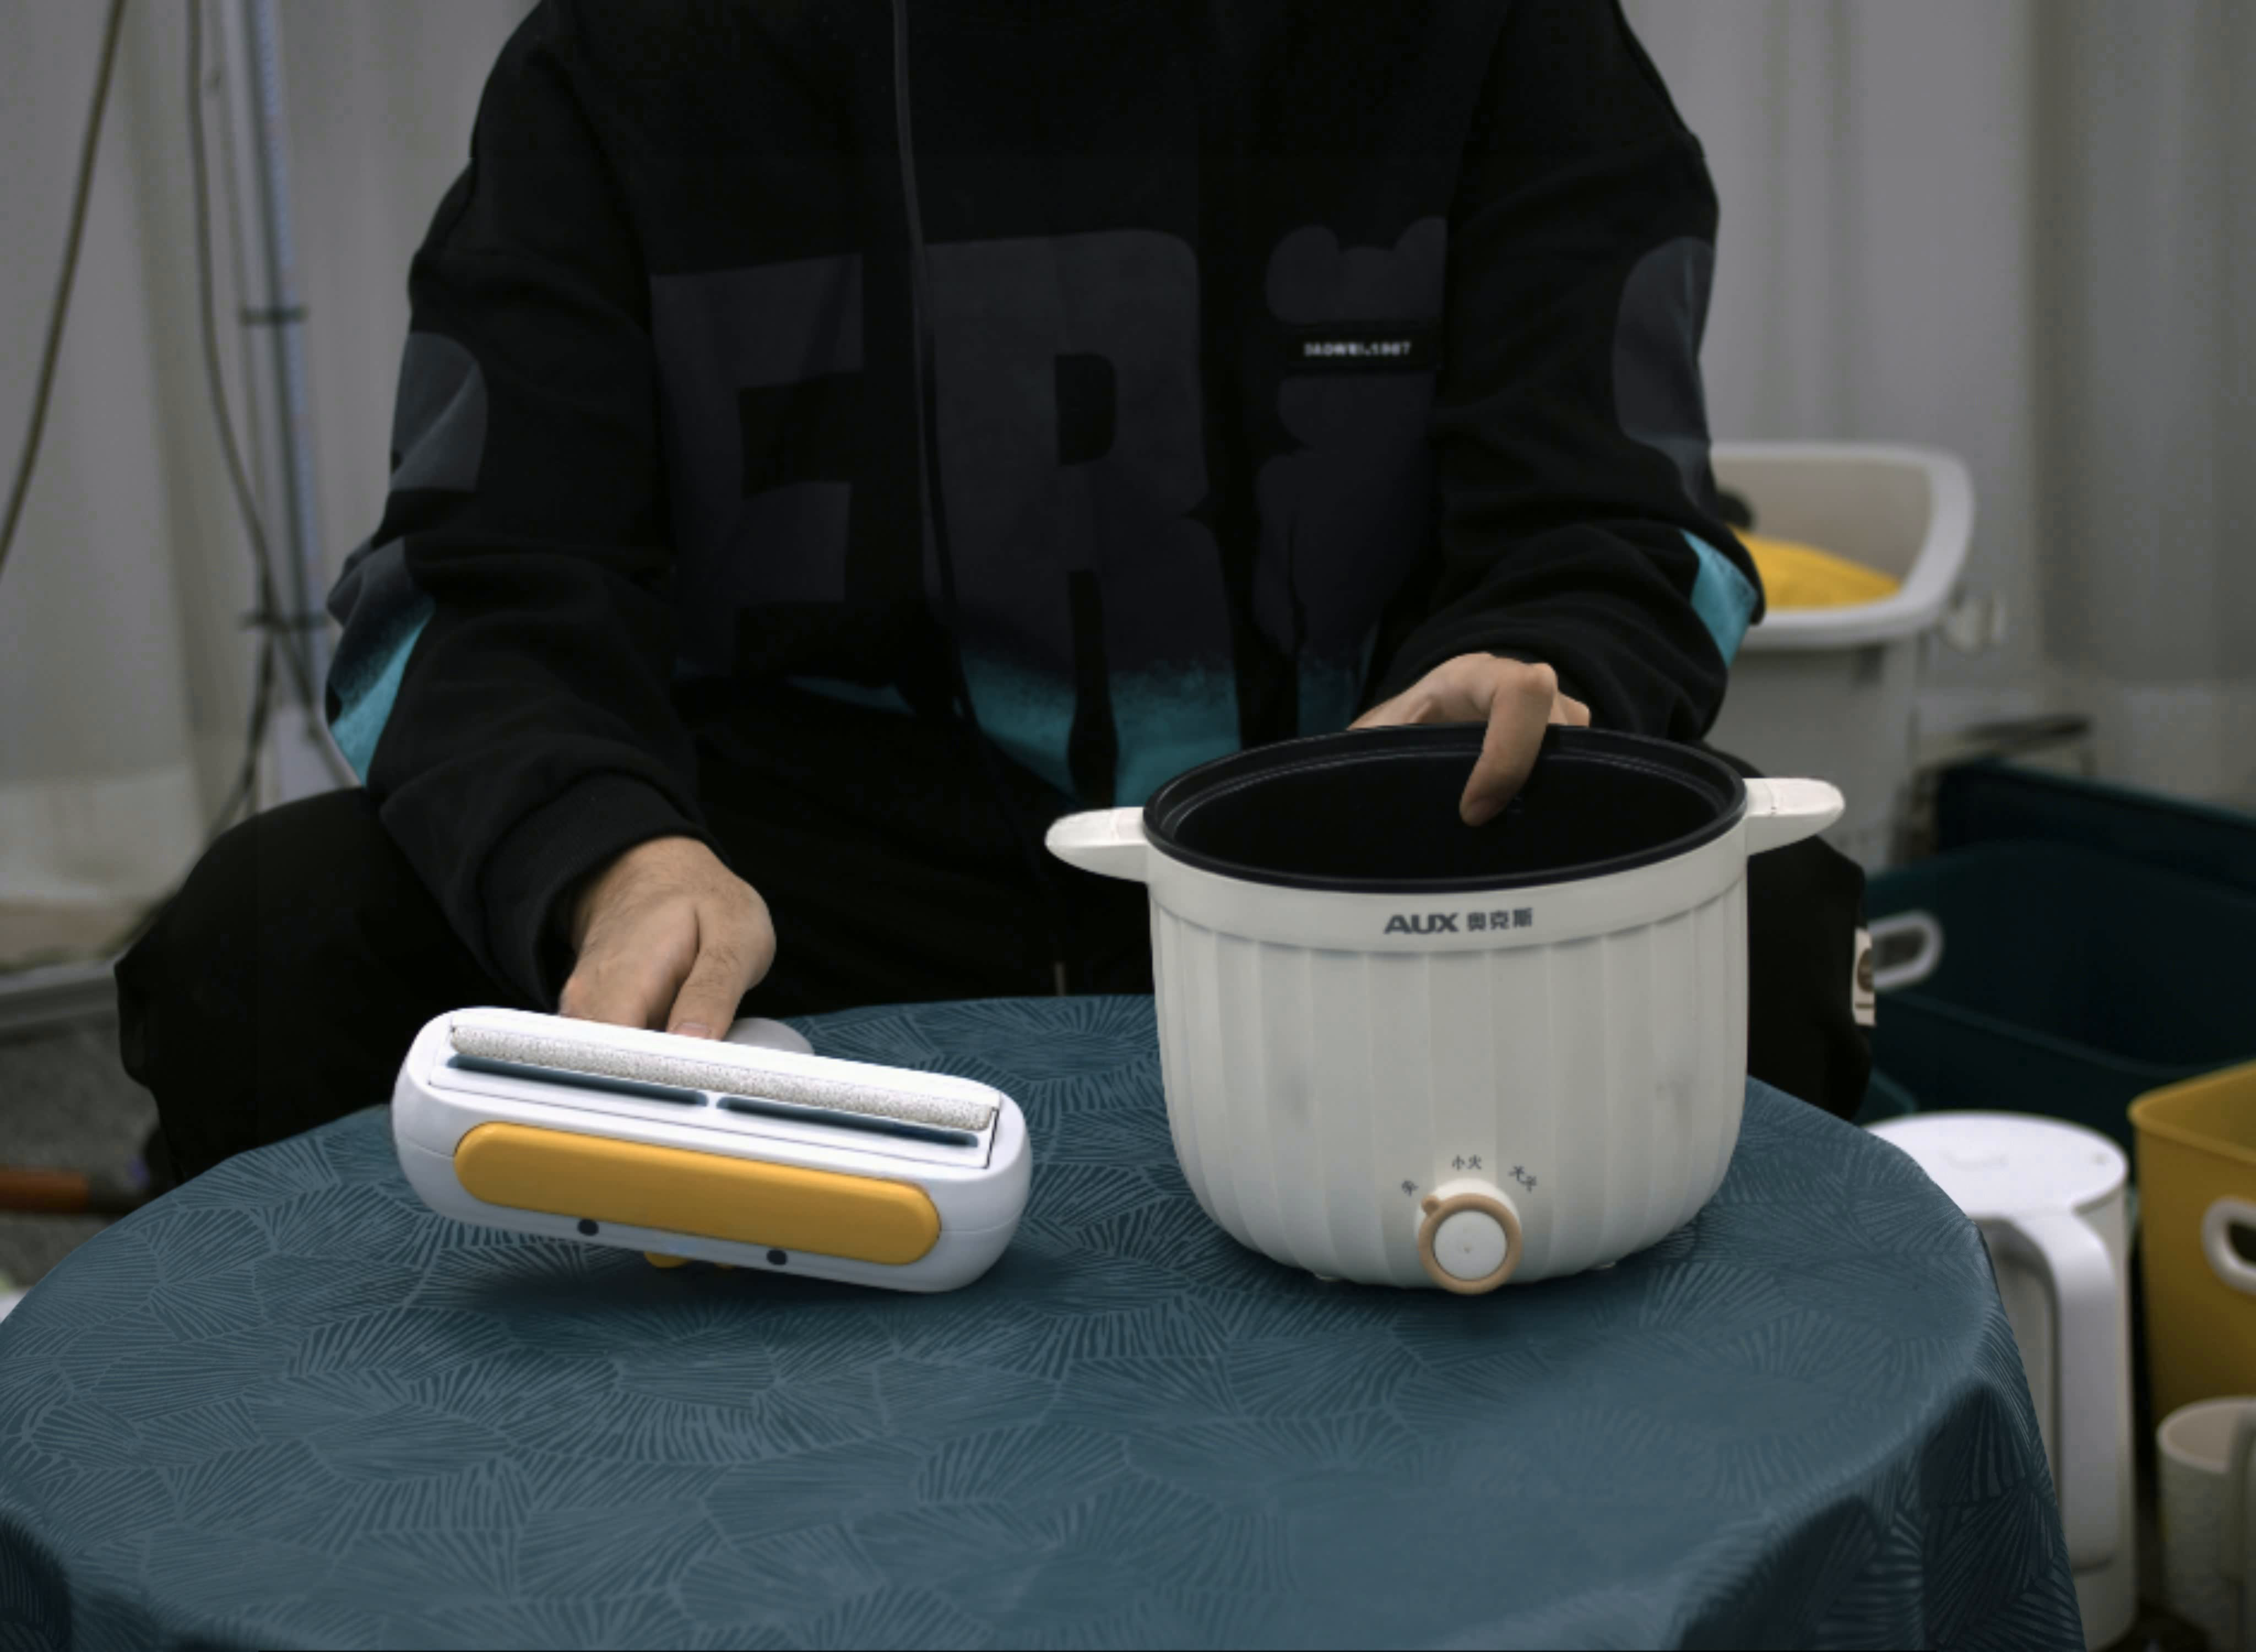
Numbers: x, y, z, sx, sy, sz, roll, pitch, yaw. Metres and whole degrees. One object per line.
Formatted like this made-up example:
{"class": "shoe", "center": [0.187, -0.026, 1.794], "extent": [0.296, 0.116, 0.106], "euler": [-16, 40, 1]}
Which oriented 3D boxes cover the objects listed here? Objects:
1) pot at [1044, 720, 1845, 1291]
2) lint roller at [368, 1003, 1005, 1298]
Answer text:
{"class": "pot", "center": [0.099, 0.056, 1.643], "extent": [0.239, 0.142, 0.191], "euler": [-4, 12, 2]}
{"class": "lint roller", "center": [-0.126, 0.085, 1.703], "extent": [0.192, 0.074, 0.194], "euler": [5, 19, 6]}
